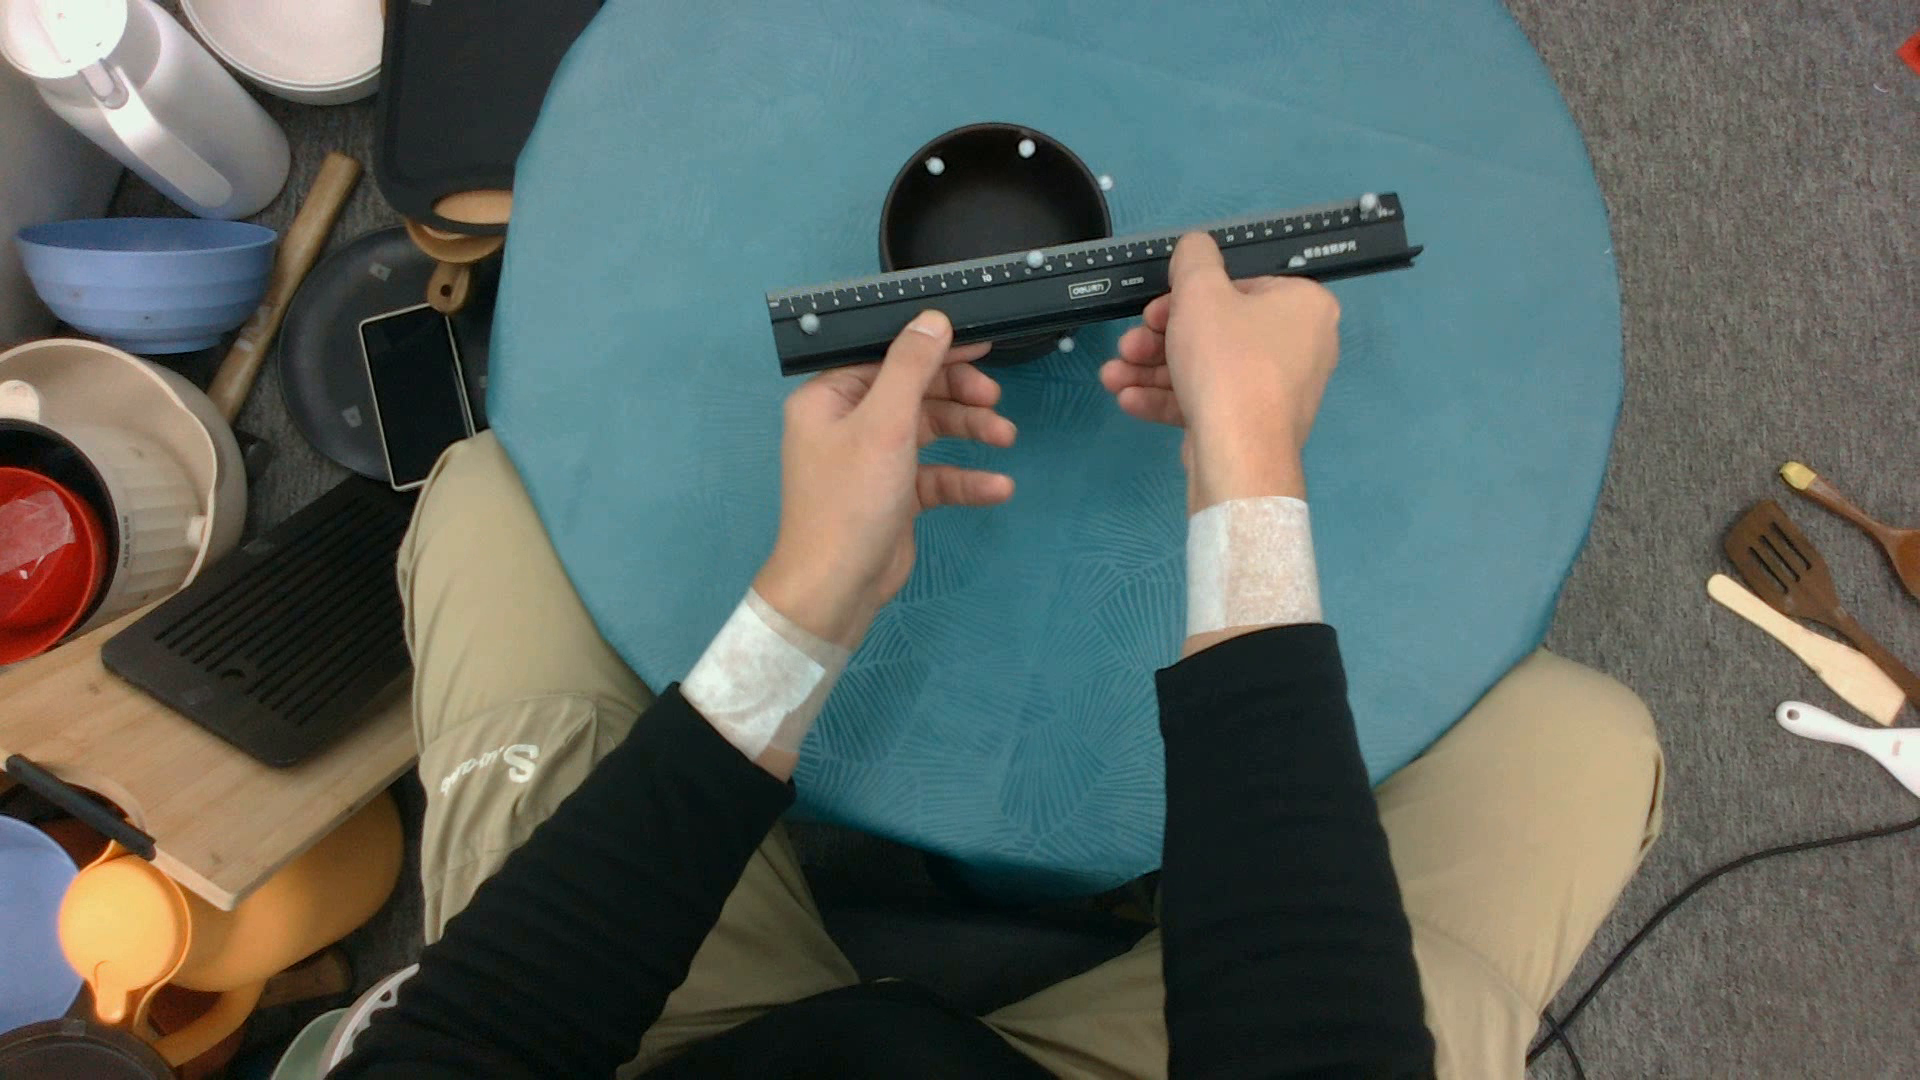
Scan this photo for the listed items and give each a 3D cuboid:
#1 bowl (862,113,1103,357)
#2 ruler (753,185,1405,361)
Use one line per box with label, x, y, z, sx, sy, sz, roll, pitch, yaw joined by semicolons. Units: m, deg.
bowl;0.010;-0.146;0.693;0.118;0.069;0.118;1;75;-3
ruler;0.062;-0.127;0.634;0.313;0.017;0.039;-12;88;-13
